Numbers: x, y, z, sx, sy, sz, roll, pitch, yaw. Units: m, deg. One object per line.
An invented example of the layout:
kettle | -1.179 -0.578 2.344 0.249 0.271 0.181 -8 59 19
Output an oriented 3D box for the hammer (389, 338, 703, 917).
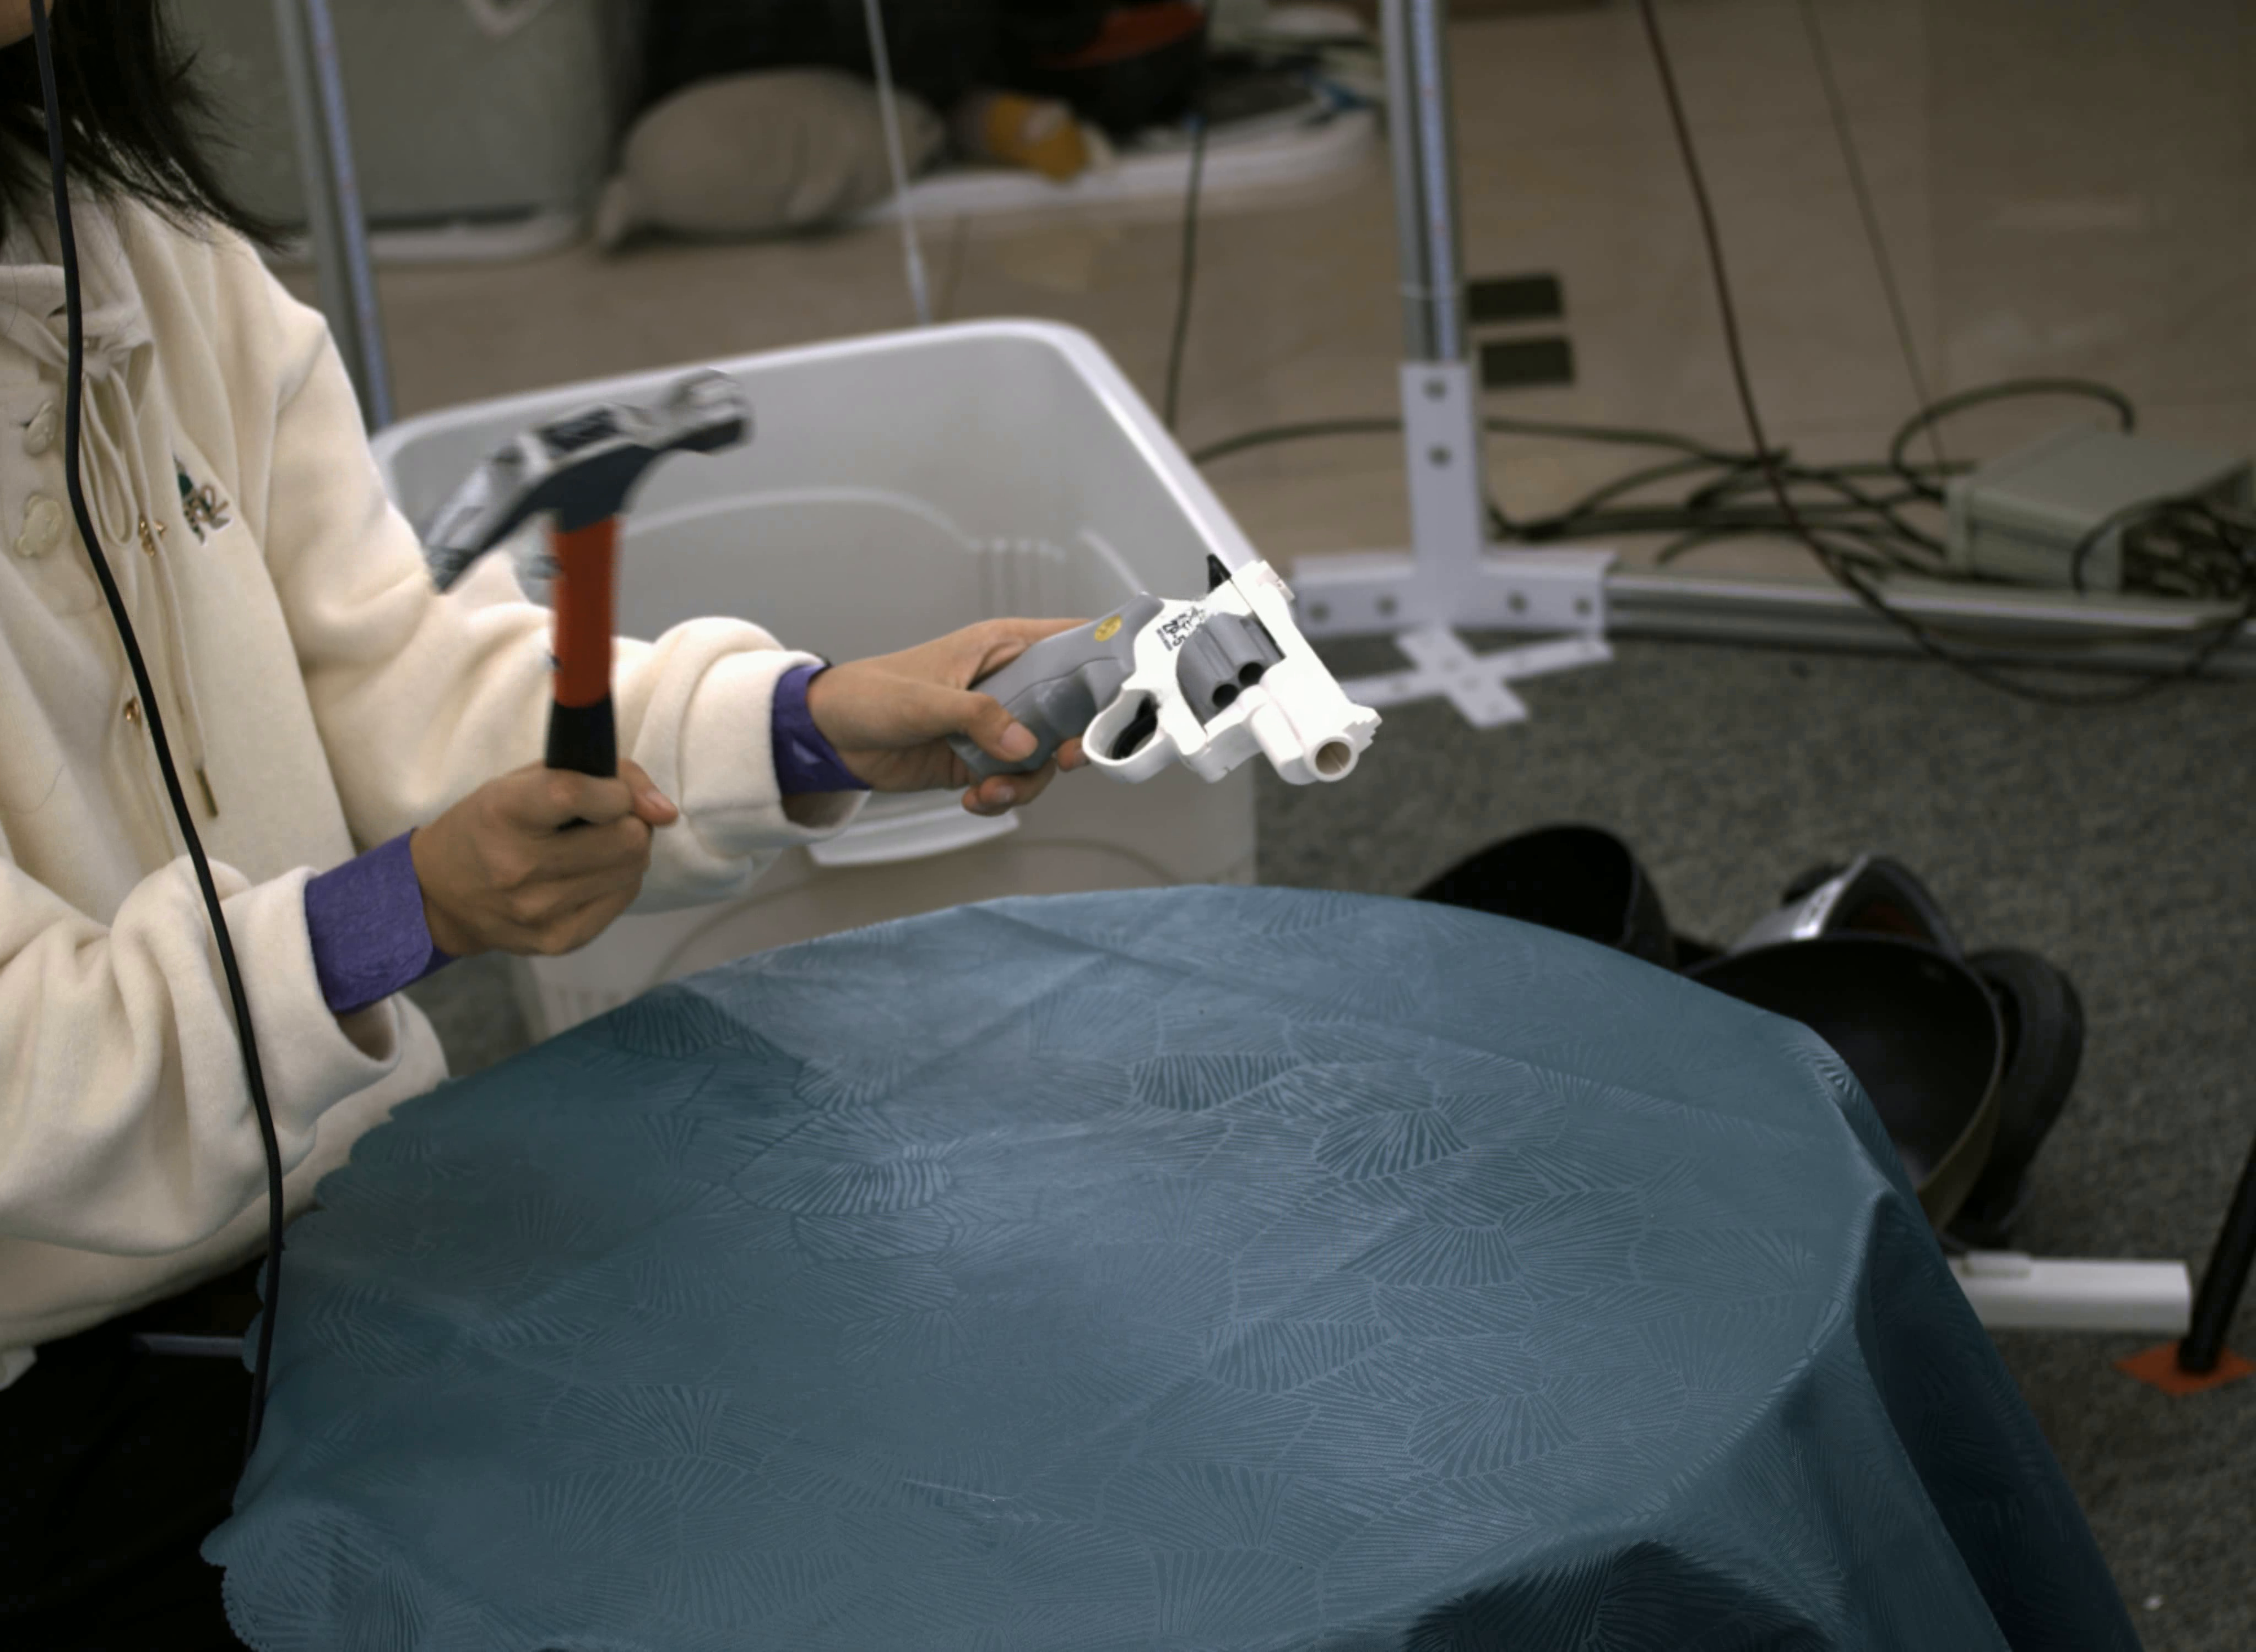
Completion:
hammer | -0.195 -0.053 1.933 0.110 0.282 0.026 -32 64 -21

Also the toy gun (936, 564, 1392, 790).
toy gun | 0.011 -0.041 2.135 0.141 0.039 0.206 -38 30 1
